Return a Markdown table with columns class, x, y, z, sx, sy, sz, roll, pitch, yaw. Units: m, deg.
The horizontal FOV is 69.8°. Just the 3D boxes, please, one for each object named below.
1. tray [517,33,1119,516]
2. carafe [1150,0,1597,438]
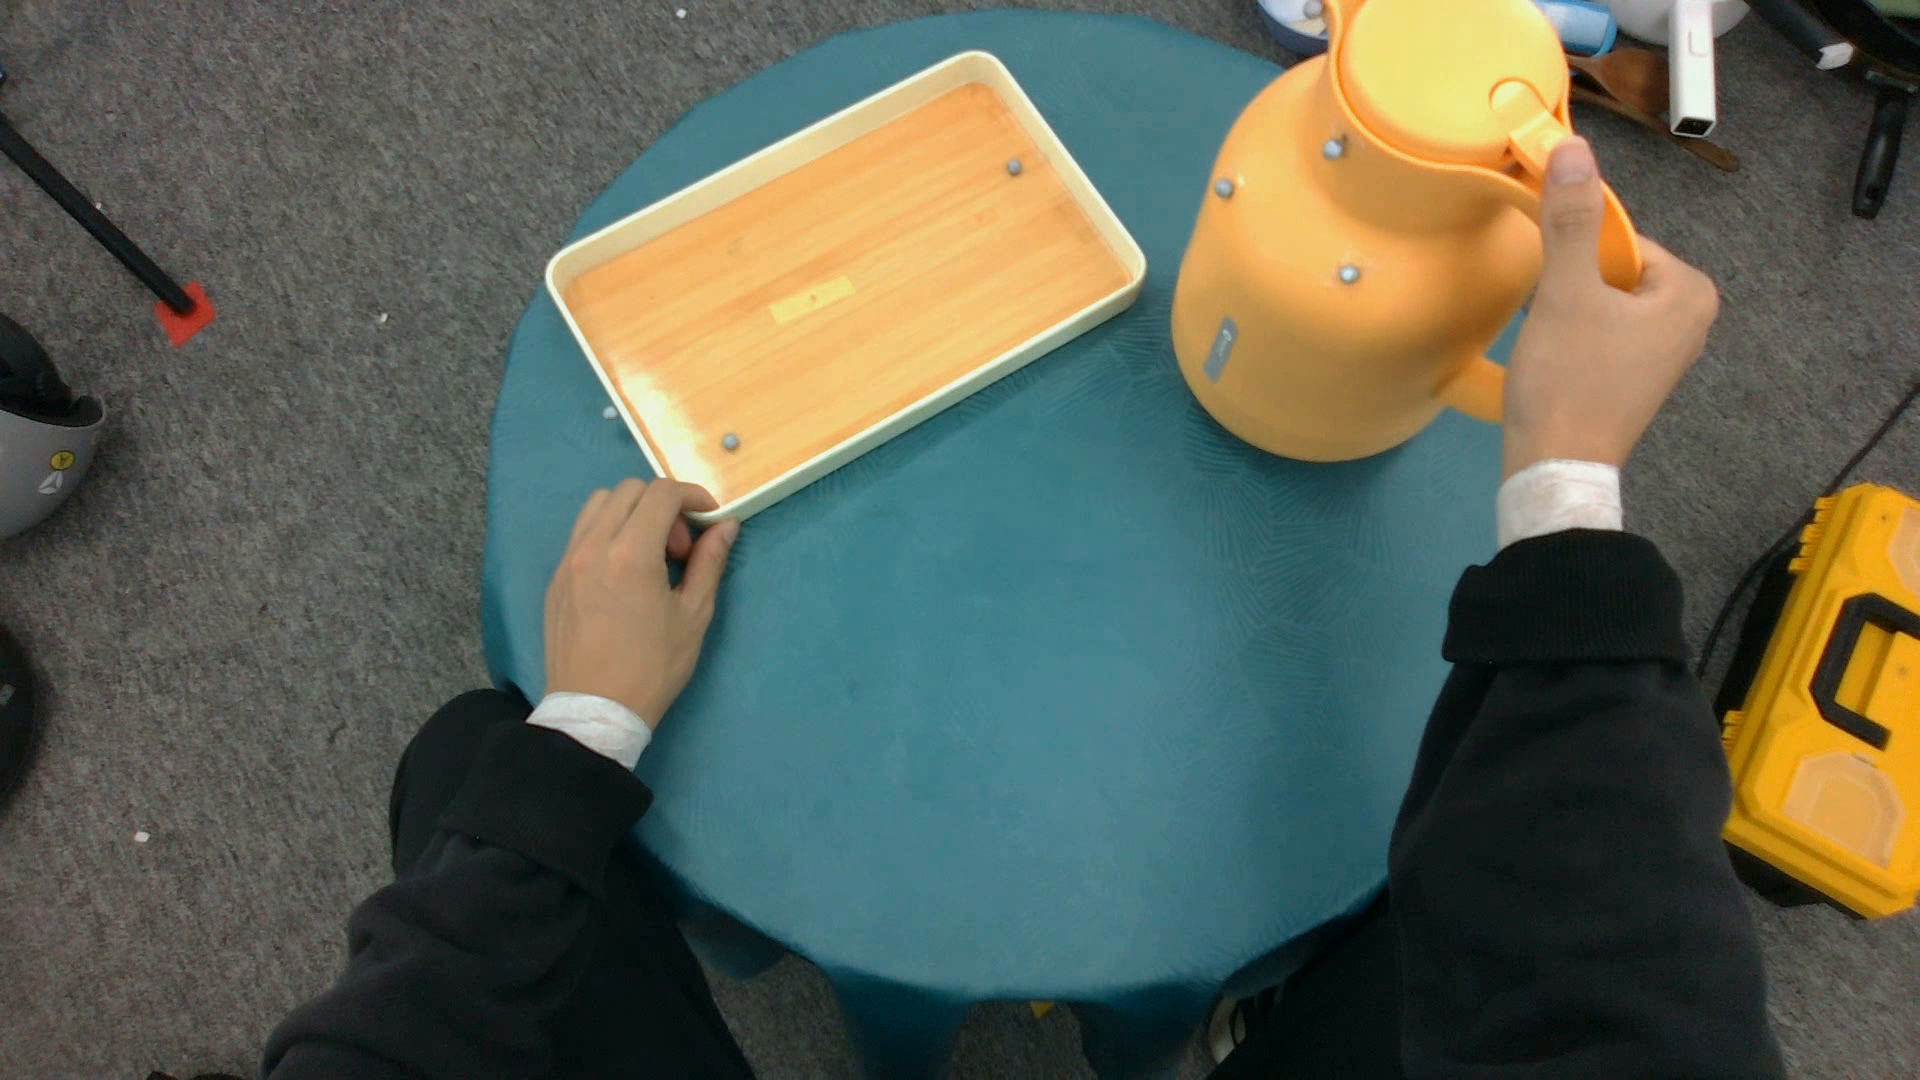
| class | x | y | z | sx | sy | sz | roll | pitch | yaw |
| --- | --- | --- | --- | --- | --- | --- | --- | --- | --- |
| tray | -0.079 | -0.159 | 0.788 | 0.301 | 0.027 | 0.192 | -30 | 73 | -12 |
| carafe | 0.195 | -0.150 | 0.668 | 0.164 | 0.259 | 0.202 | -34 | 73 | -10 |
